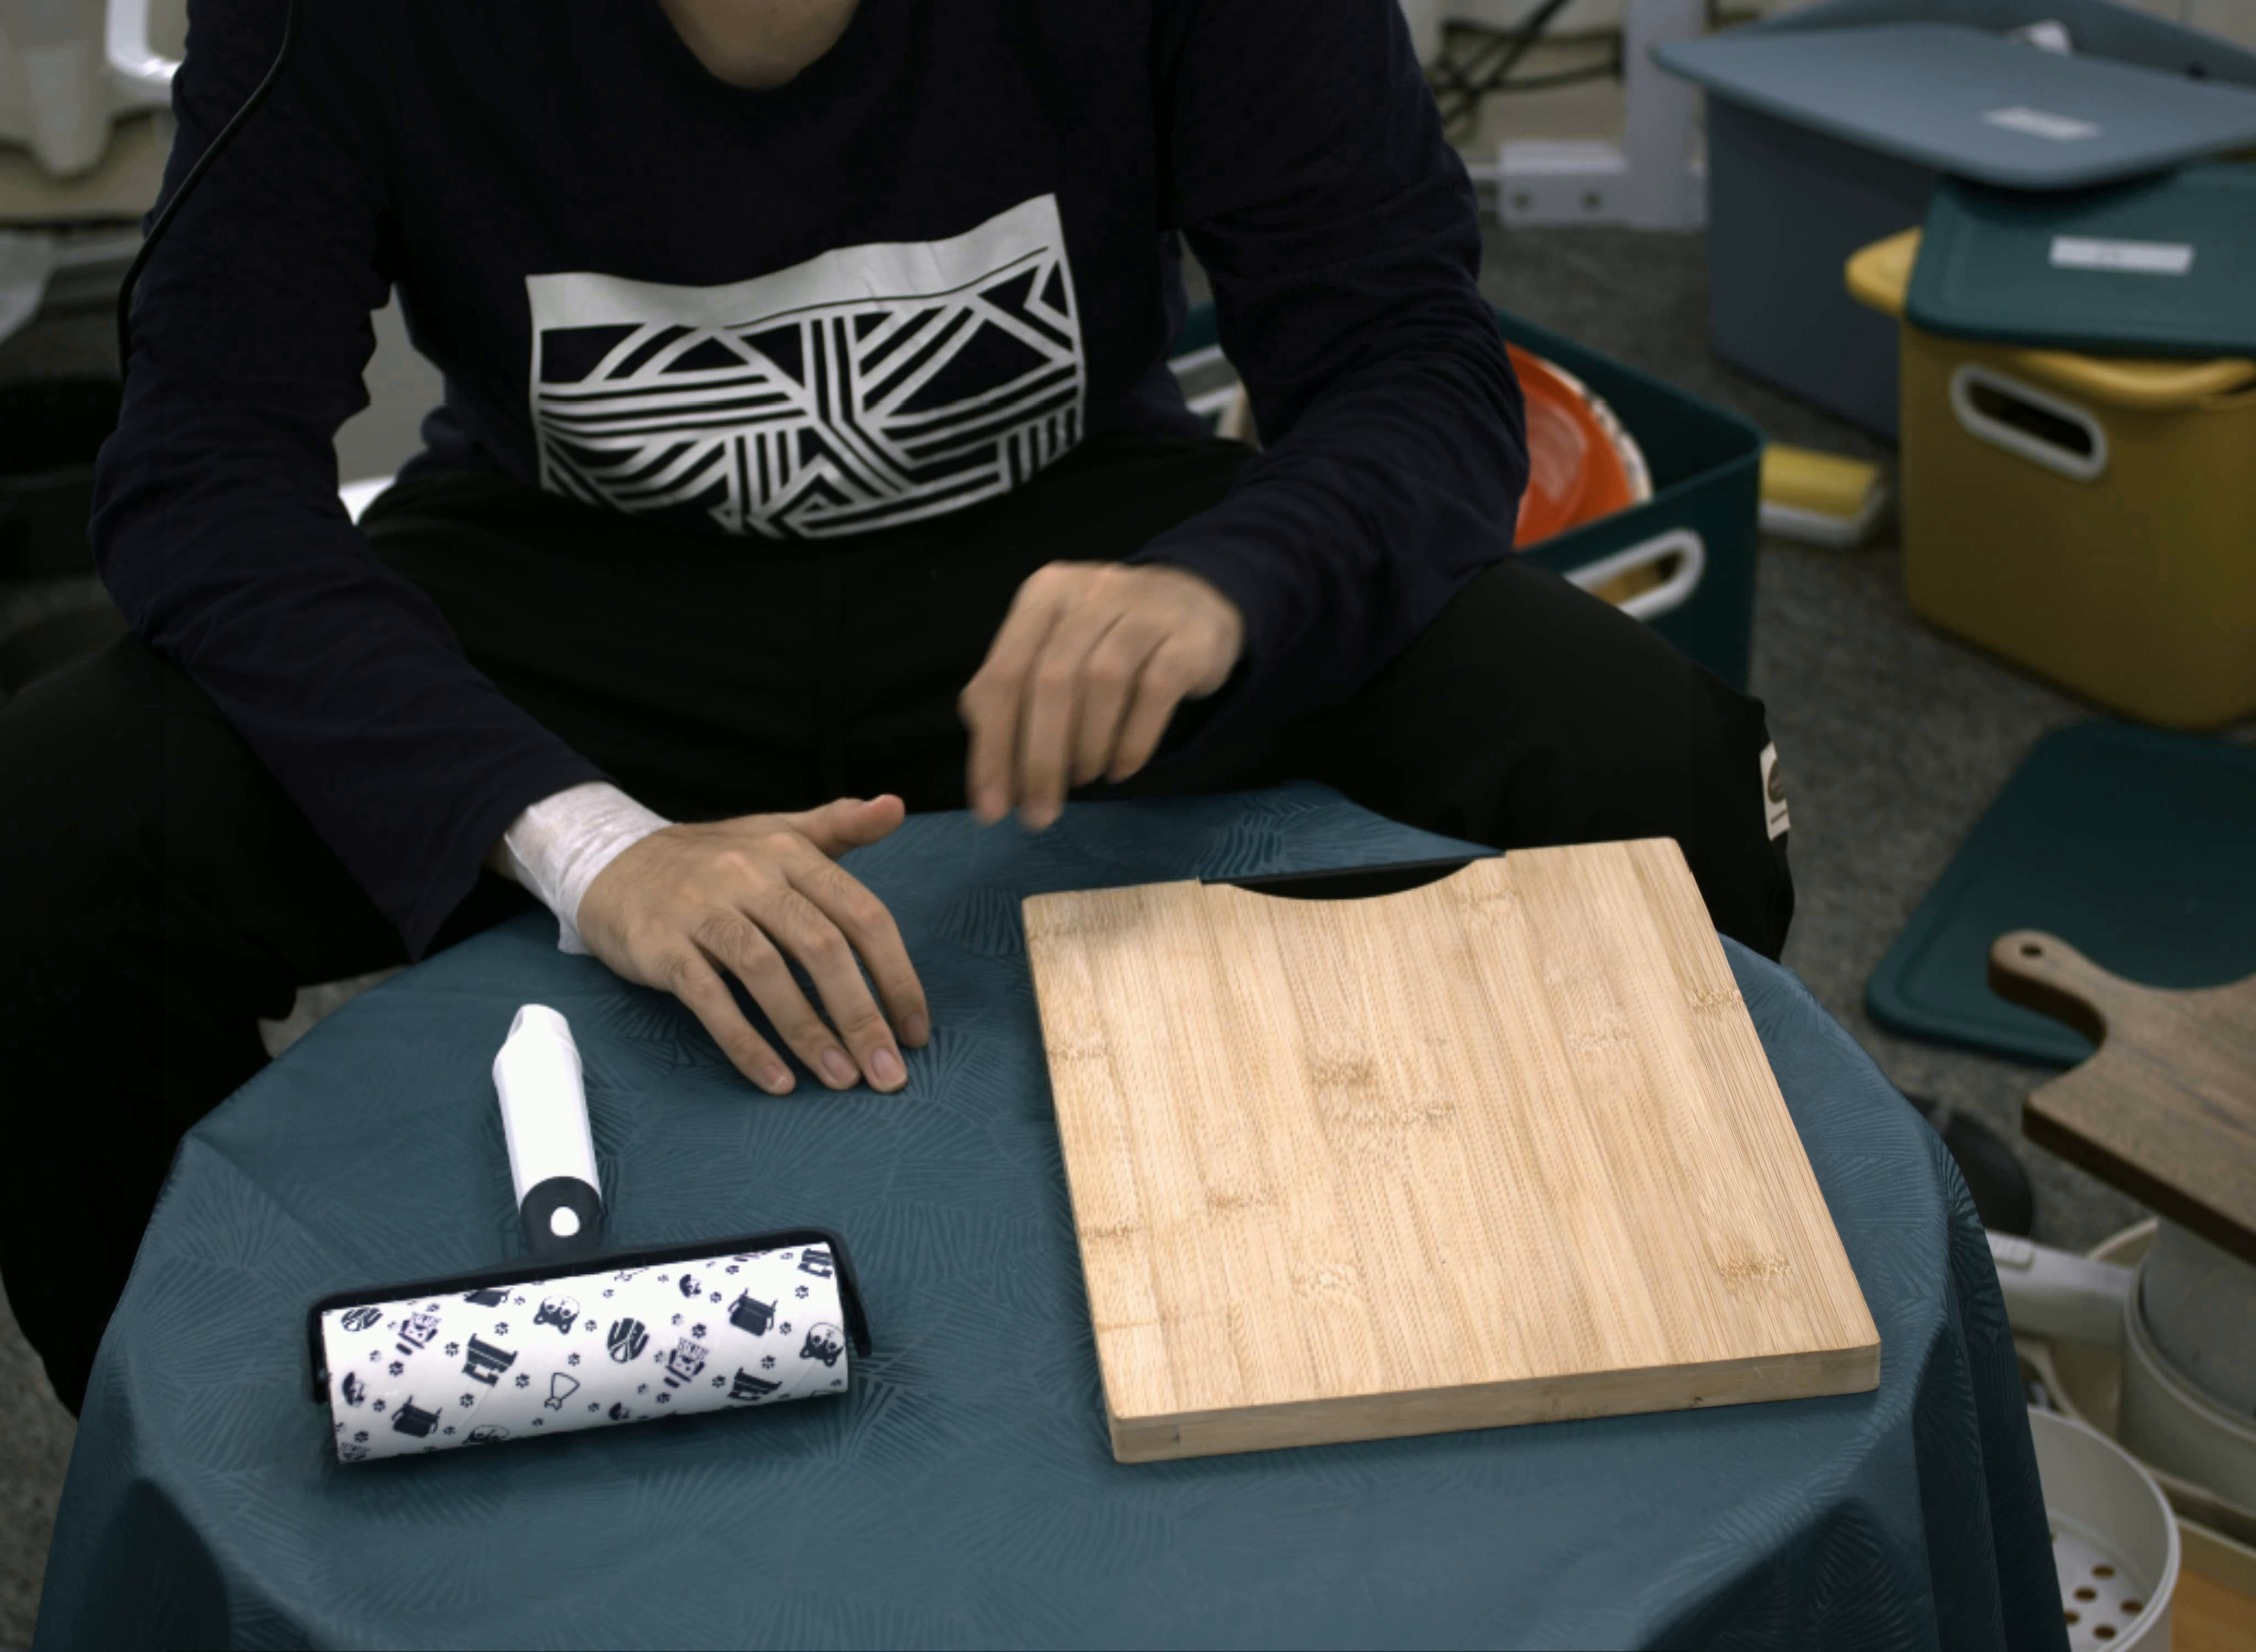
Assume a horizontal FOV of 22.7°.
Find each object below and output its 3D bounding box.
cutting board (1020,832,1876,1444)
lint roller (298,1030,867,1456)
[{"bbox_3d":[0.096,0.099,1.880,0.250,0.023,0.353,-5,27,-5],"label":"cutting board"},{"bbox_3d":[-0.189,0.121,1.836,0.176,0.050,0.249,-8,25,-9],"label":"lint roller"}]
